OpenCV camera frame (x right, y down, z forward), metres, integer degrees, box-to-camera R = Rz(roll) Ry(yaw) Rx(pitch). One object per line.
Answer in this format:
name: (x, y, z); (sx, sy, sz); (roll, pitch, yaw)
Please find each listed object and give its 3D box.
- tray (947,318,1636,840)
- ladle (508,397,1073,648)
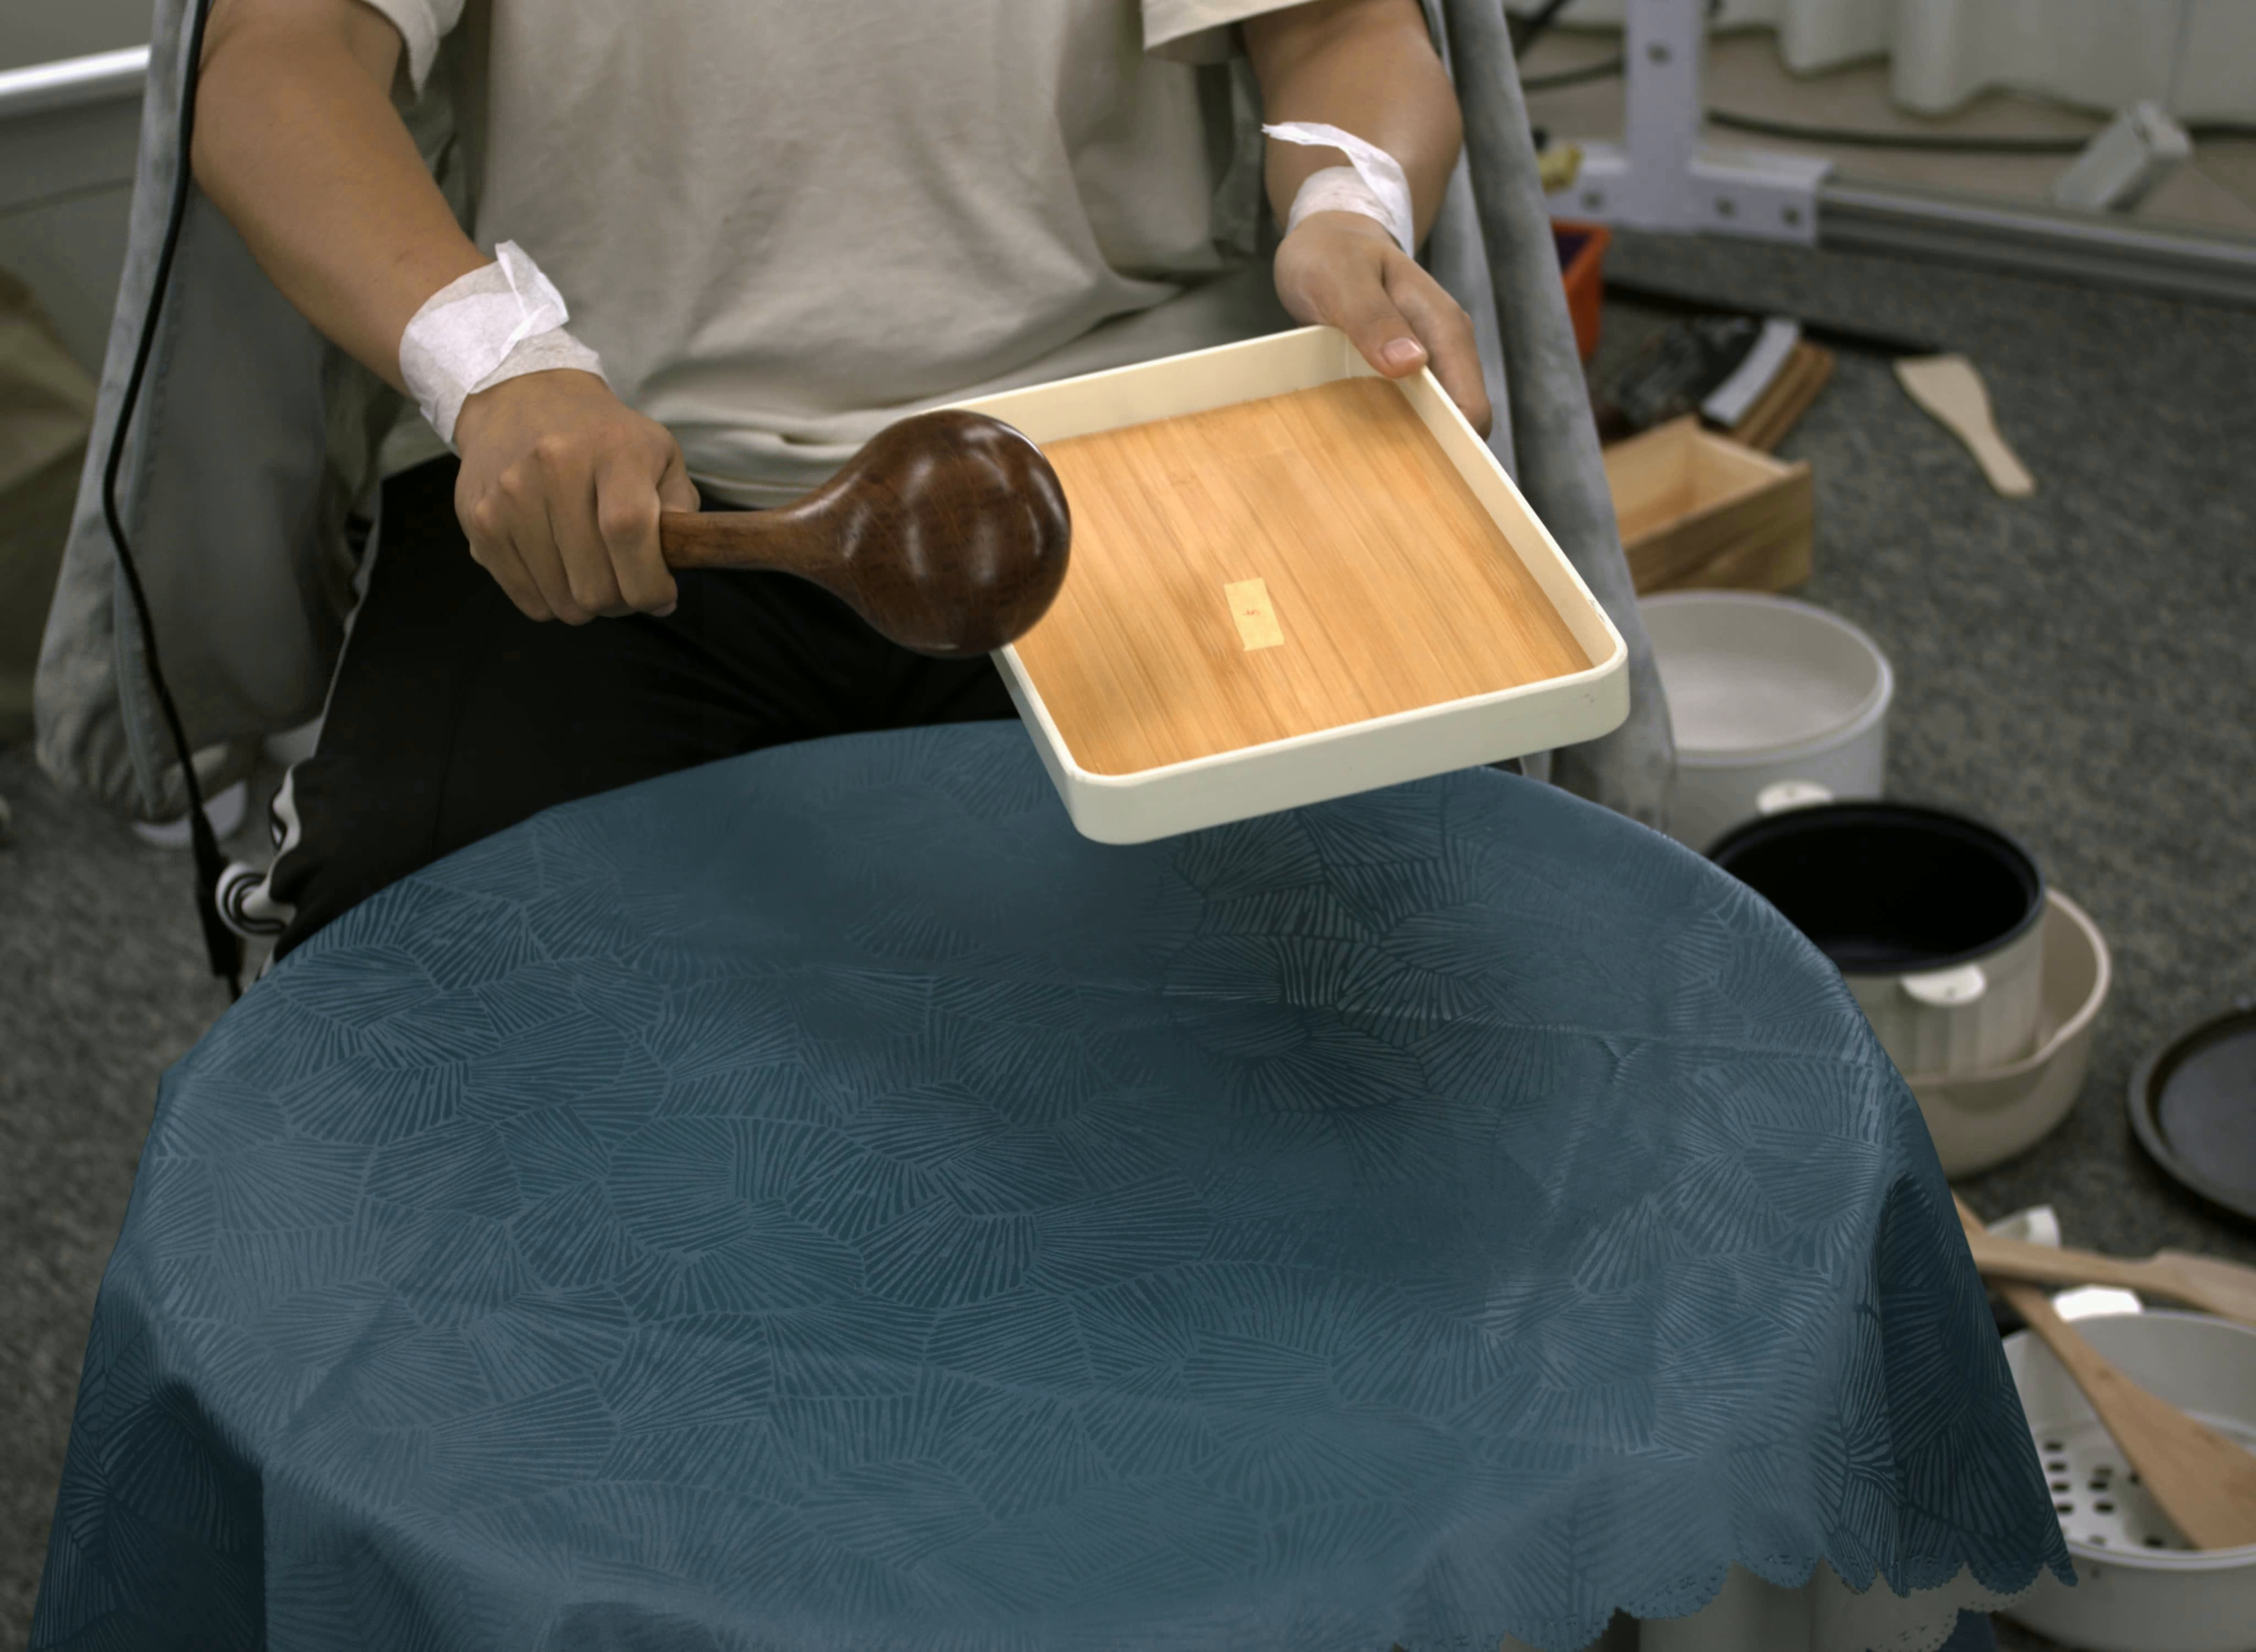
tray: (0.043, -0.090, 1.938); (0.191, 0.027, 0.304); (-13, 29, -9)
ladle: (-0.116, -0.099, 1.920); (0.077, 0.082, 0.272); (4, -2, -33)
